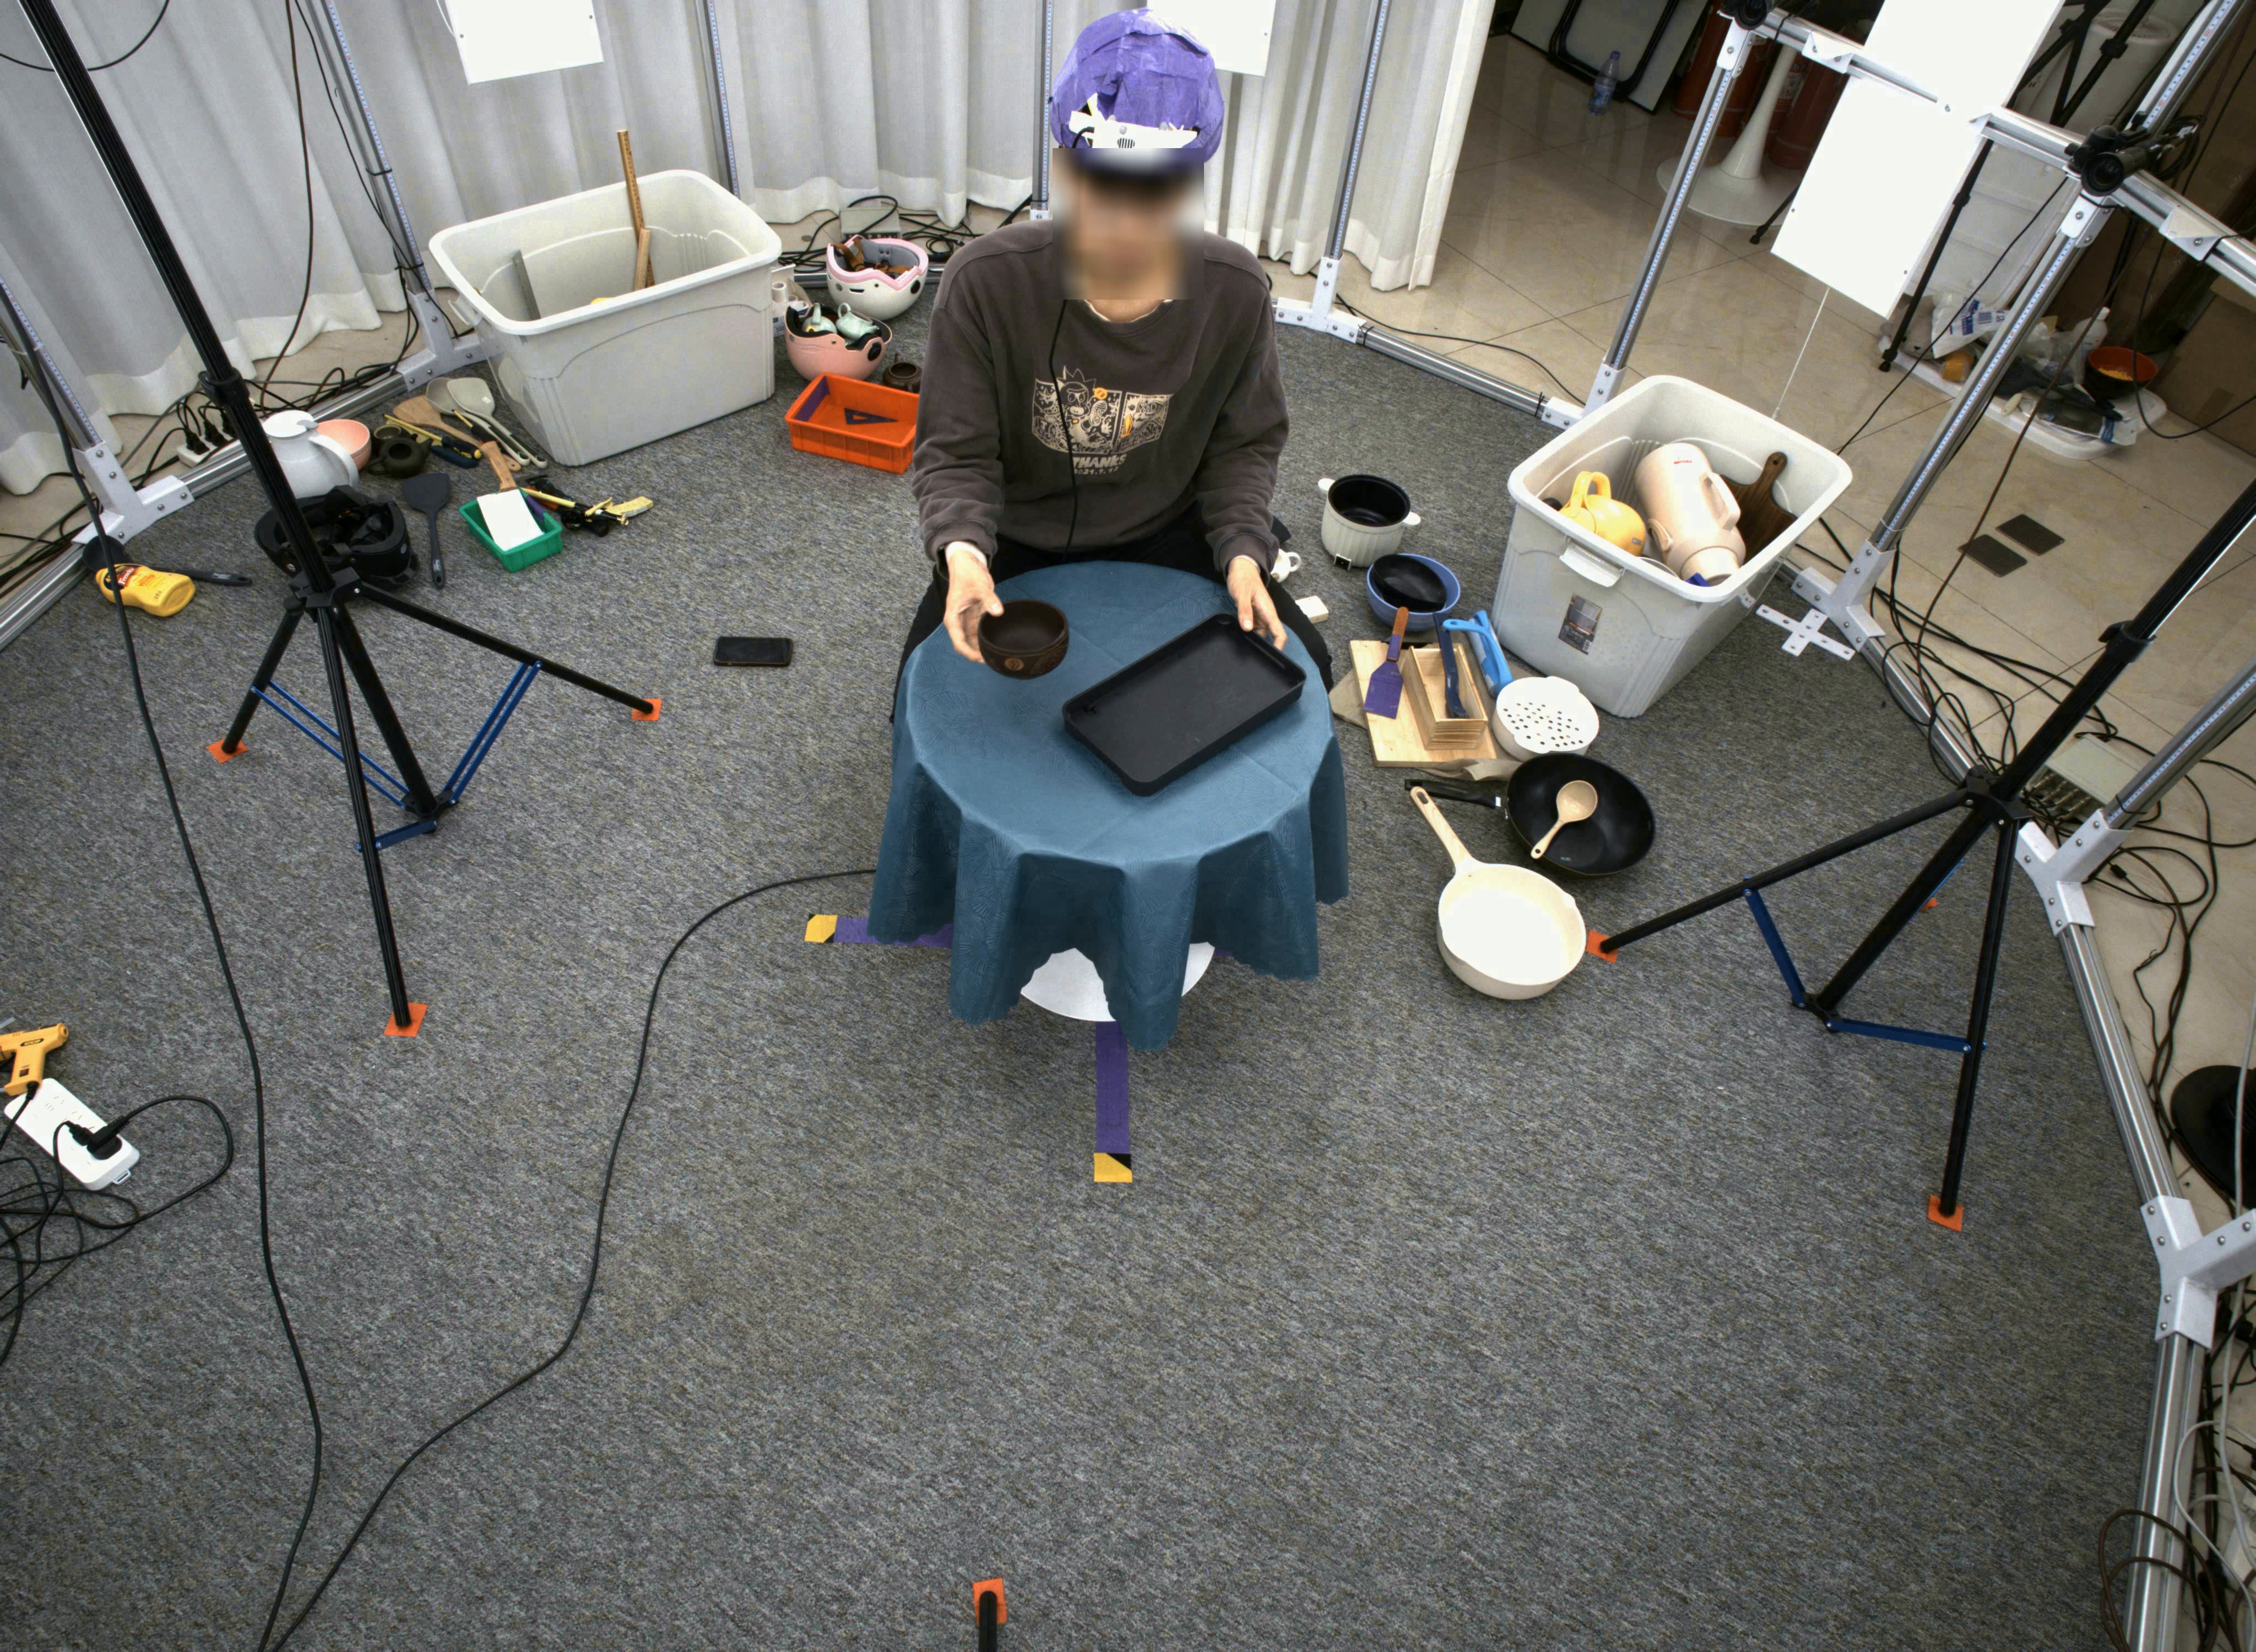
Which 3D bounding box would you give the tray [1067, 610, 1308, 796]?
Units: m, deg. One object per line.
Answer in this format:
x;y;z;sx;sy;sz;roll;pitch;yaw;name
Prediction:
0.085;-0.177;1.792;0.320;0.036;0.187;-35;58;-25;tray

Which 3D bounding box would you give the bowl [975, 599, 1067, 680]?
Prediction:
-0.138;-0.234;1.669;0.118;0.068;0.121;-1;43;1;bowl
